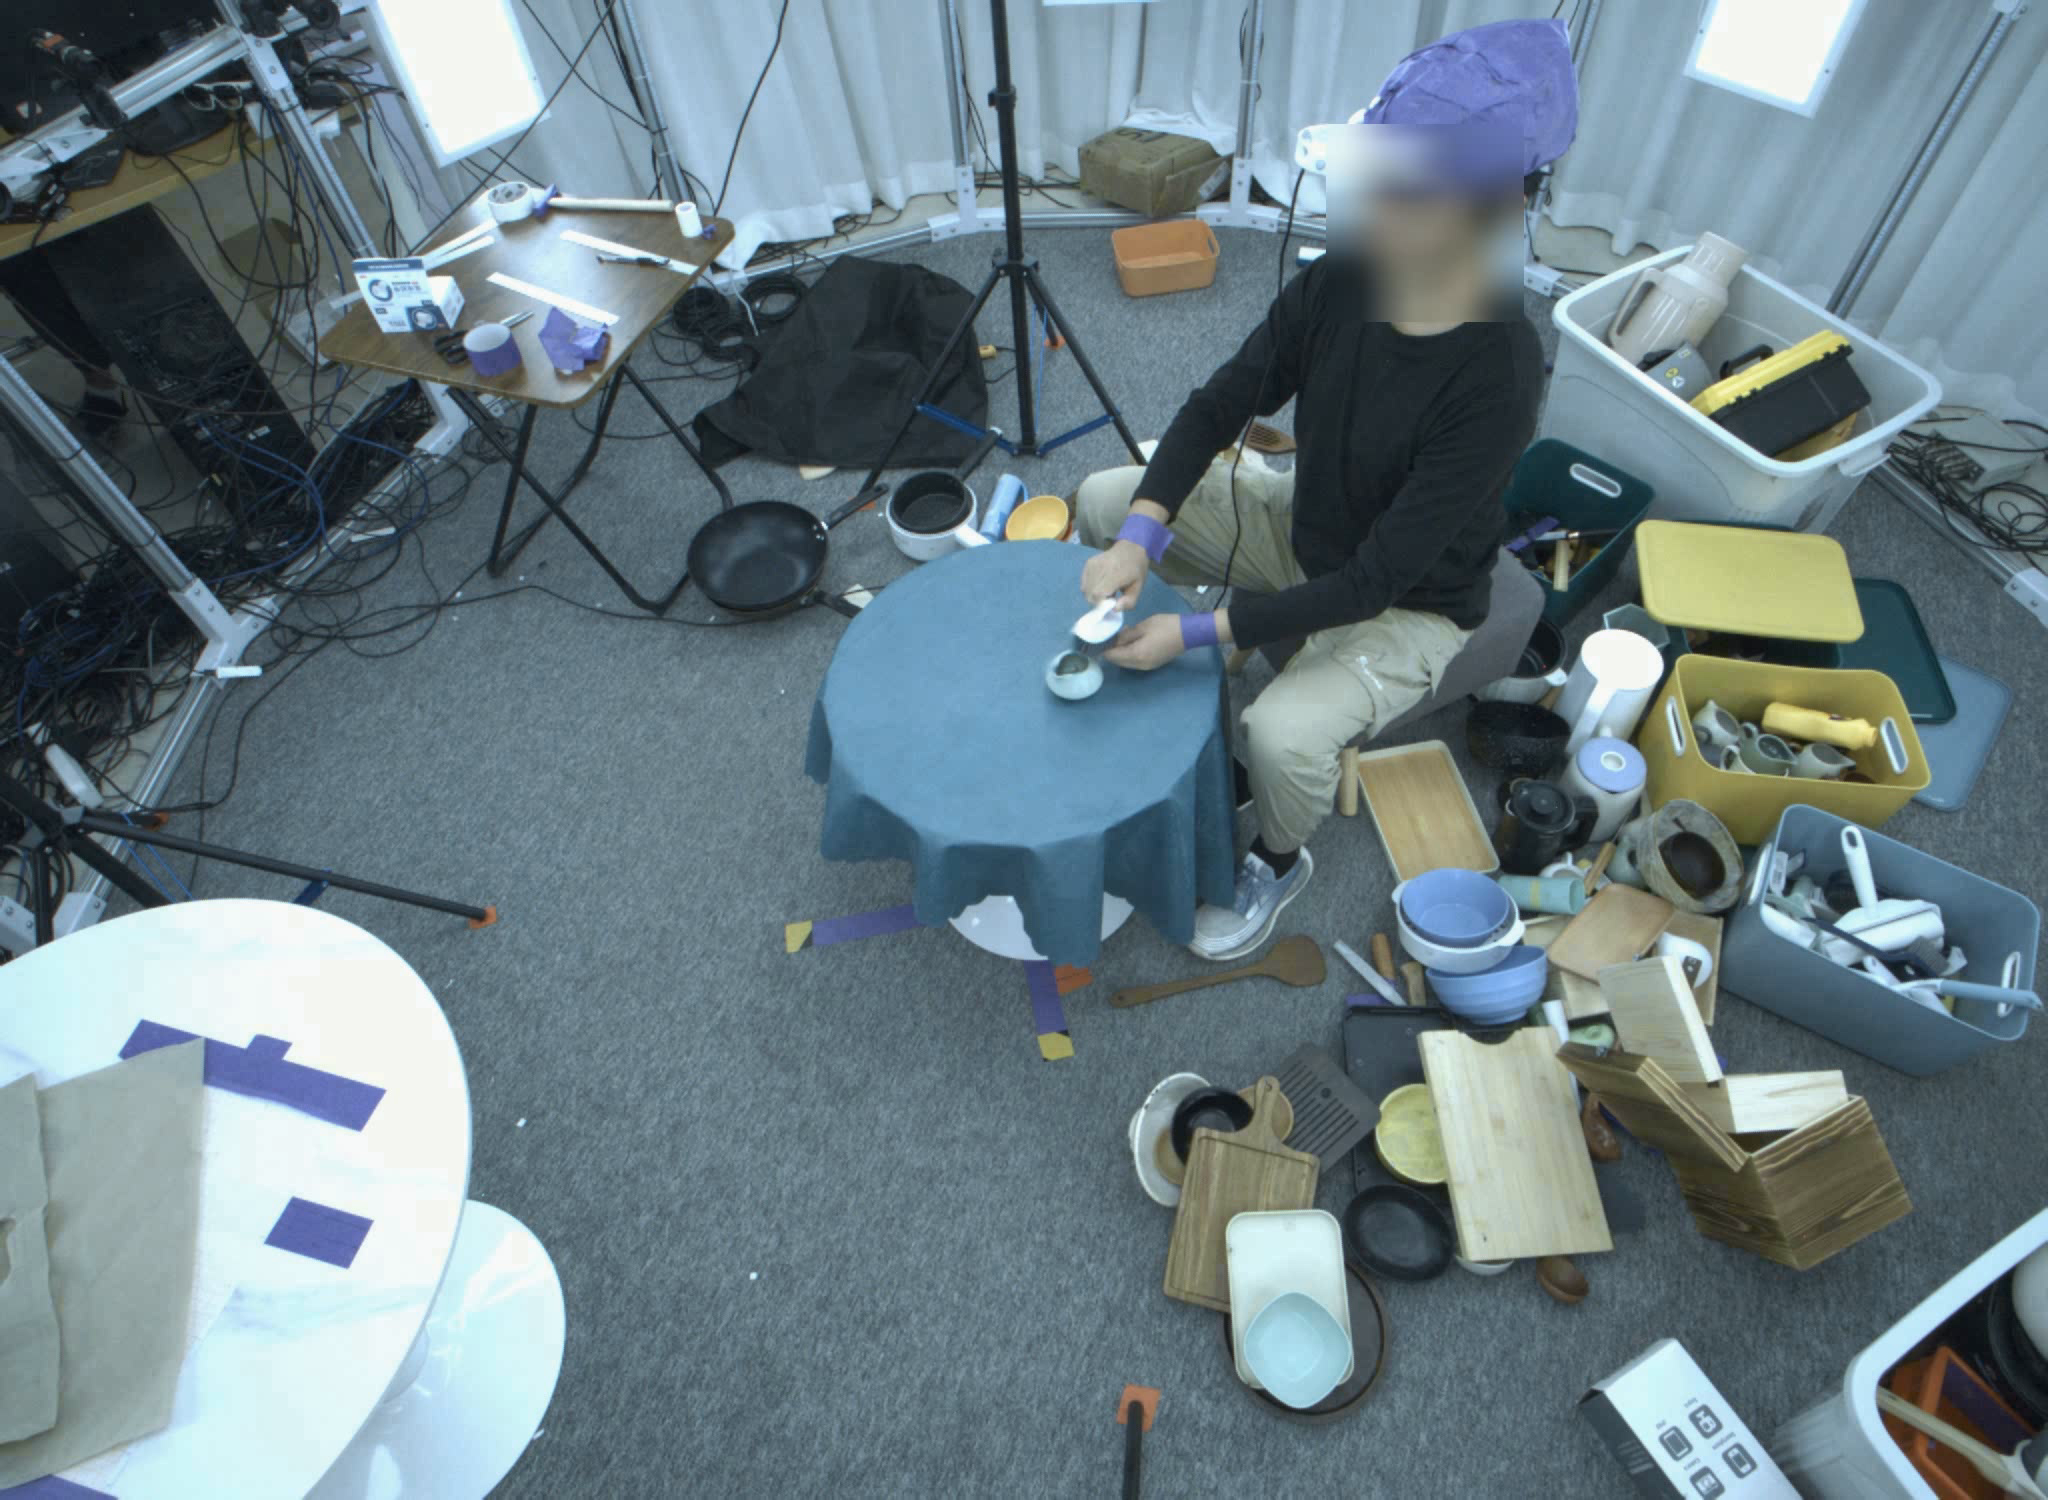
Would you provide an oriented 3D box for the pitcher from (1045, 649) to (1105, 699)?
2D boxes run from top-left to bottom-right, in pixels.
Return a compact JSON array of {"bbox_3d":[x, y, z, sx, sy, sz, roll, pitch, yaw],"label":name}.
[{"bbox_3d":[0.081,-0.123,1.840,0.084,0.061,0.109,36,60,24],"label":"pitcher"}]

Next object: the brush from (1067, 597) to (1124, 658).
[{"bbox_3d":[0.110,-0.185,1.784,0.049,0.072,0.100,35,39,19],"label":"brush"}]
